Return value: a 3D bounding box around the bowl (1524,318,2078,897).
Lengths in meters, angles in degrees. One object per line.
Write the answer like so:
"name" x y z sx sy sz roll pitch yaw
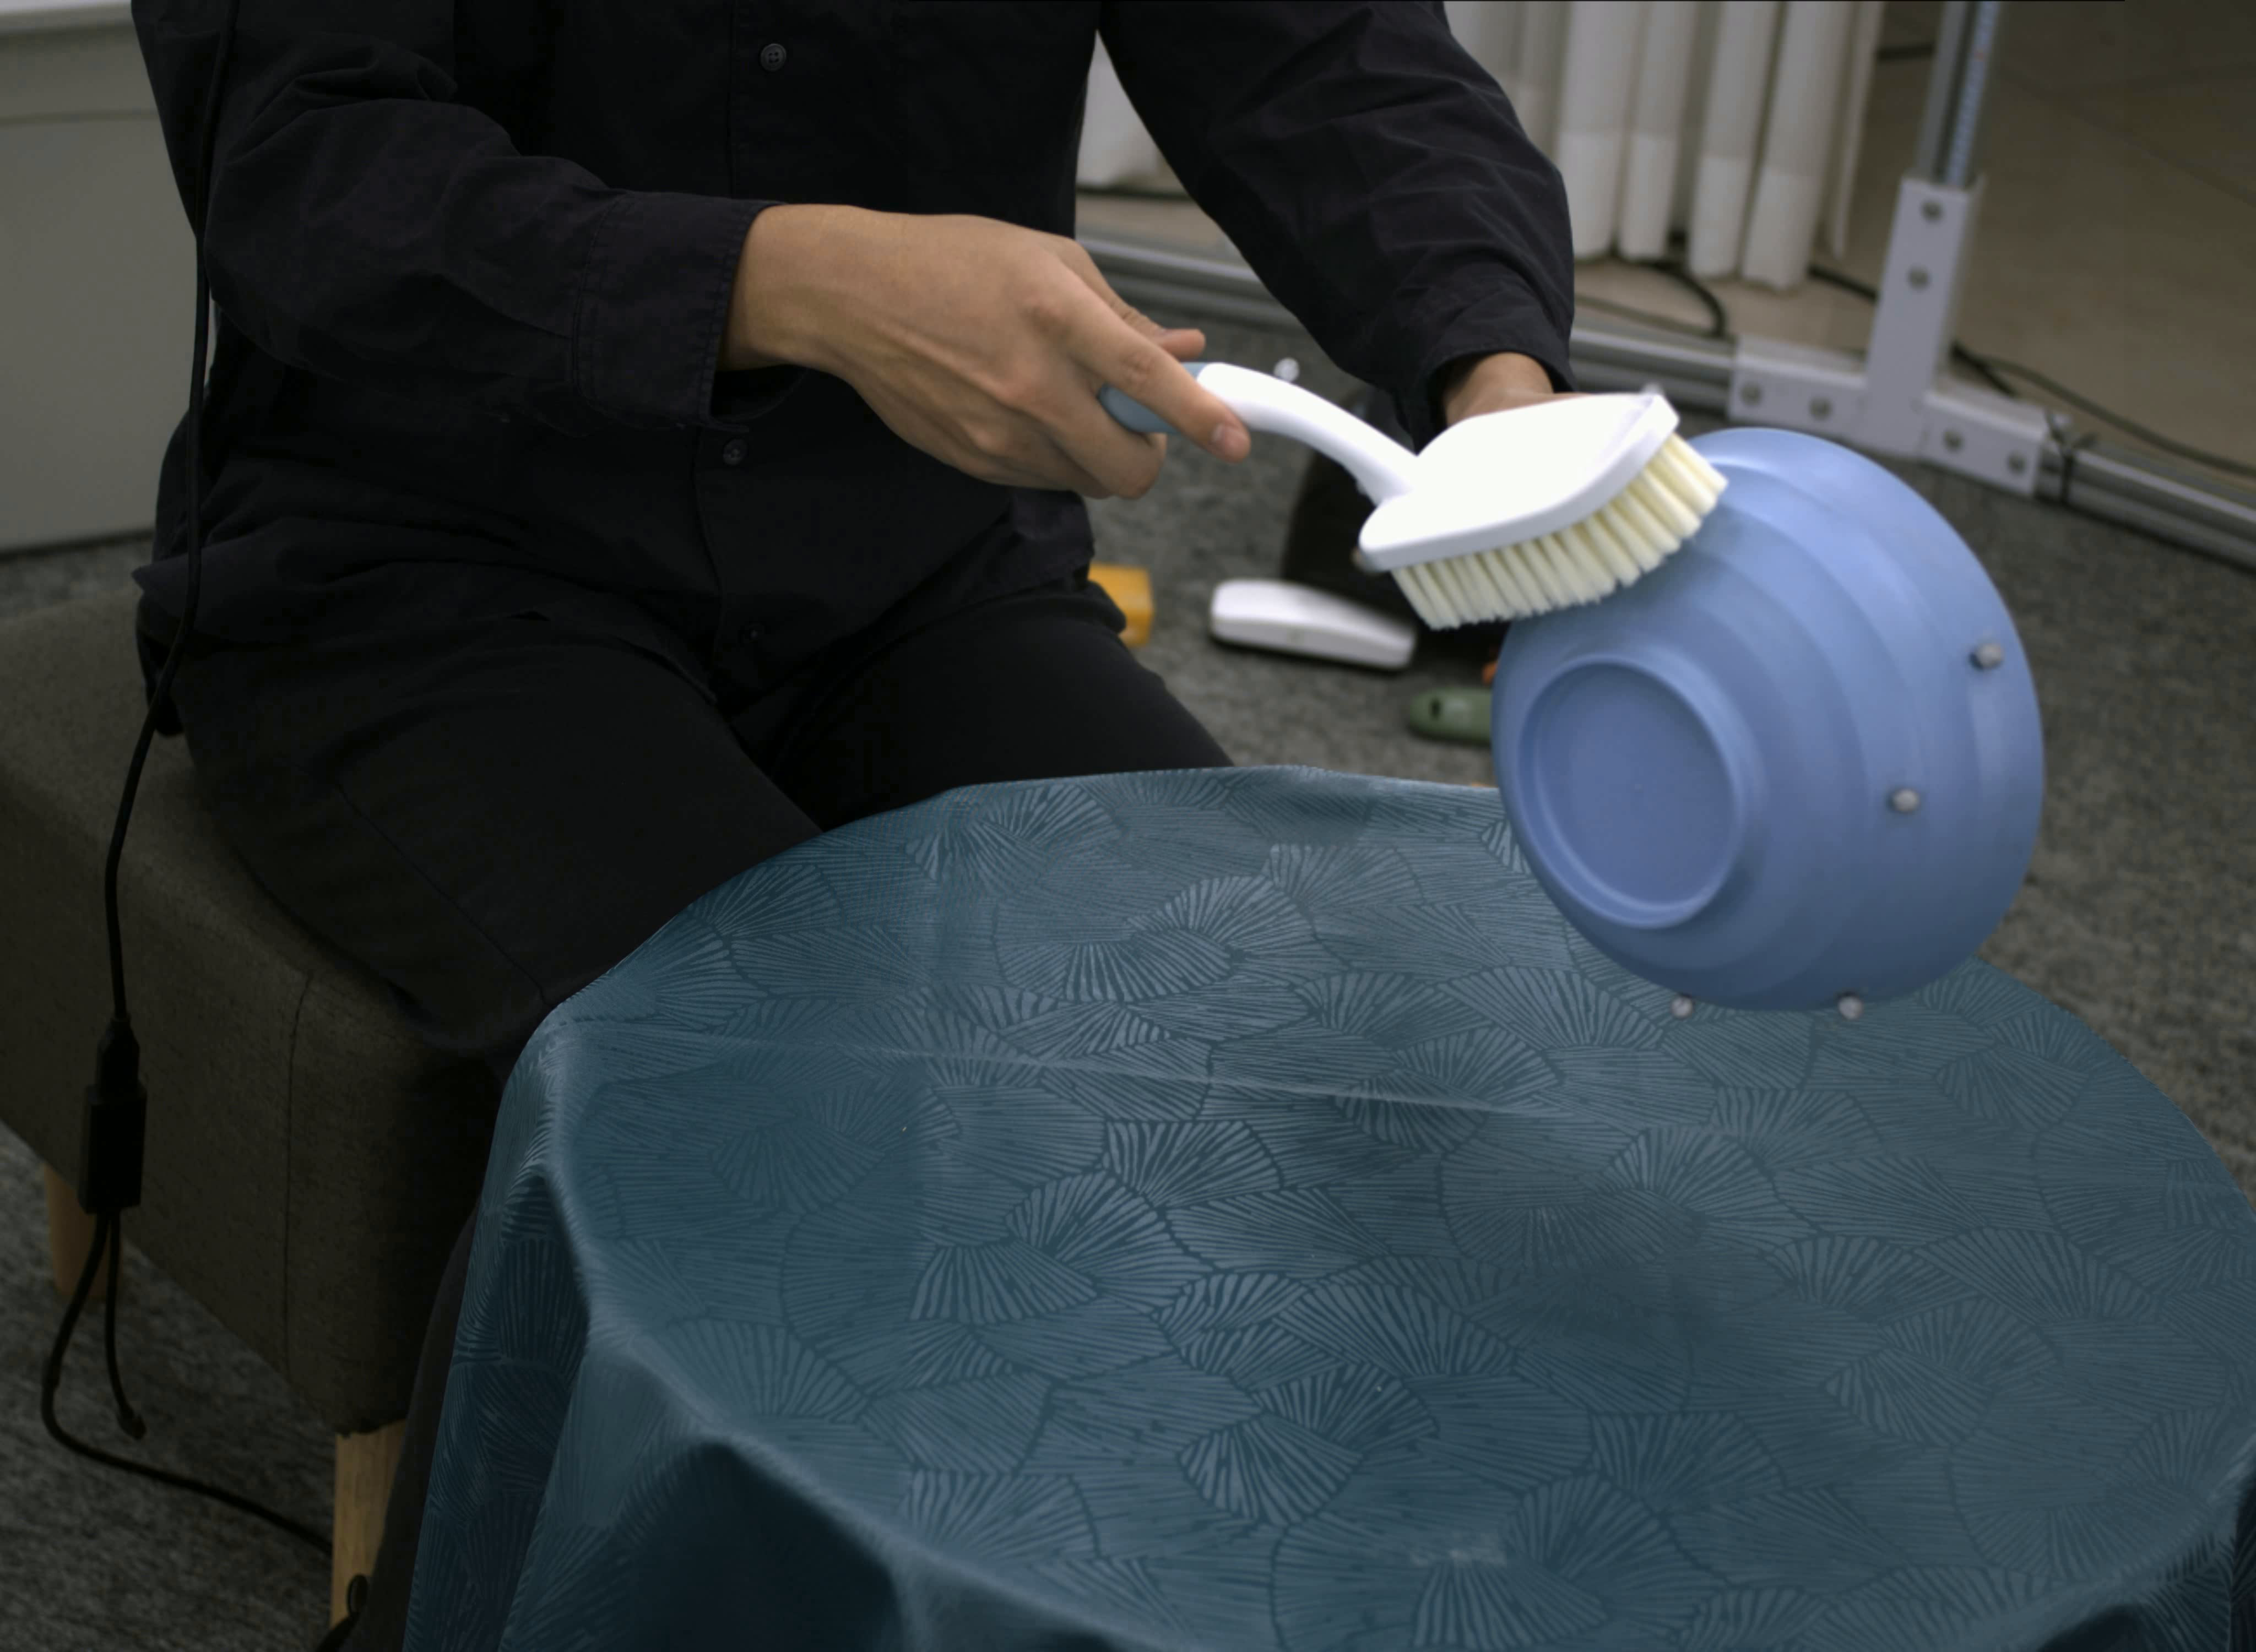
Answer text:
"bowl" 0.202 -0.060 1.740 0.198 0.196 0.095 27 32 34

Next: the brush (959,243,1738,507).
"brush" 0.075 -0.153 1.797 0.327 0.084 0.082 7 9 44
